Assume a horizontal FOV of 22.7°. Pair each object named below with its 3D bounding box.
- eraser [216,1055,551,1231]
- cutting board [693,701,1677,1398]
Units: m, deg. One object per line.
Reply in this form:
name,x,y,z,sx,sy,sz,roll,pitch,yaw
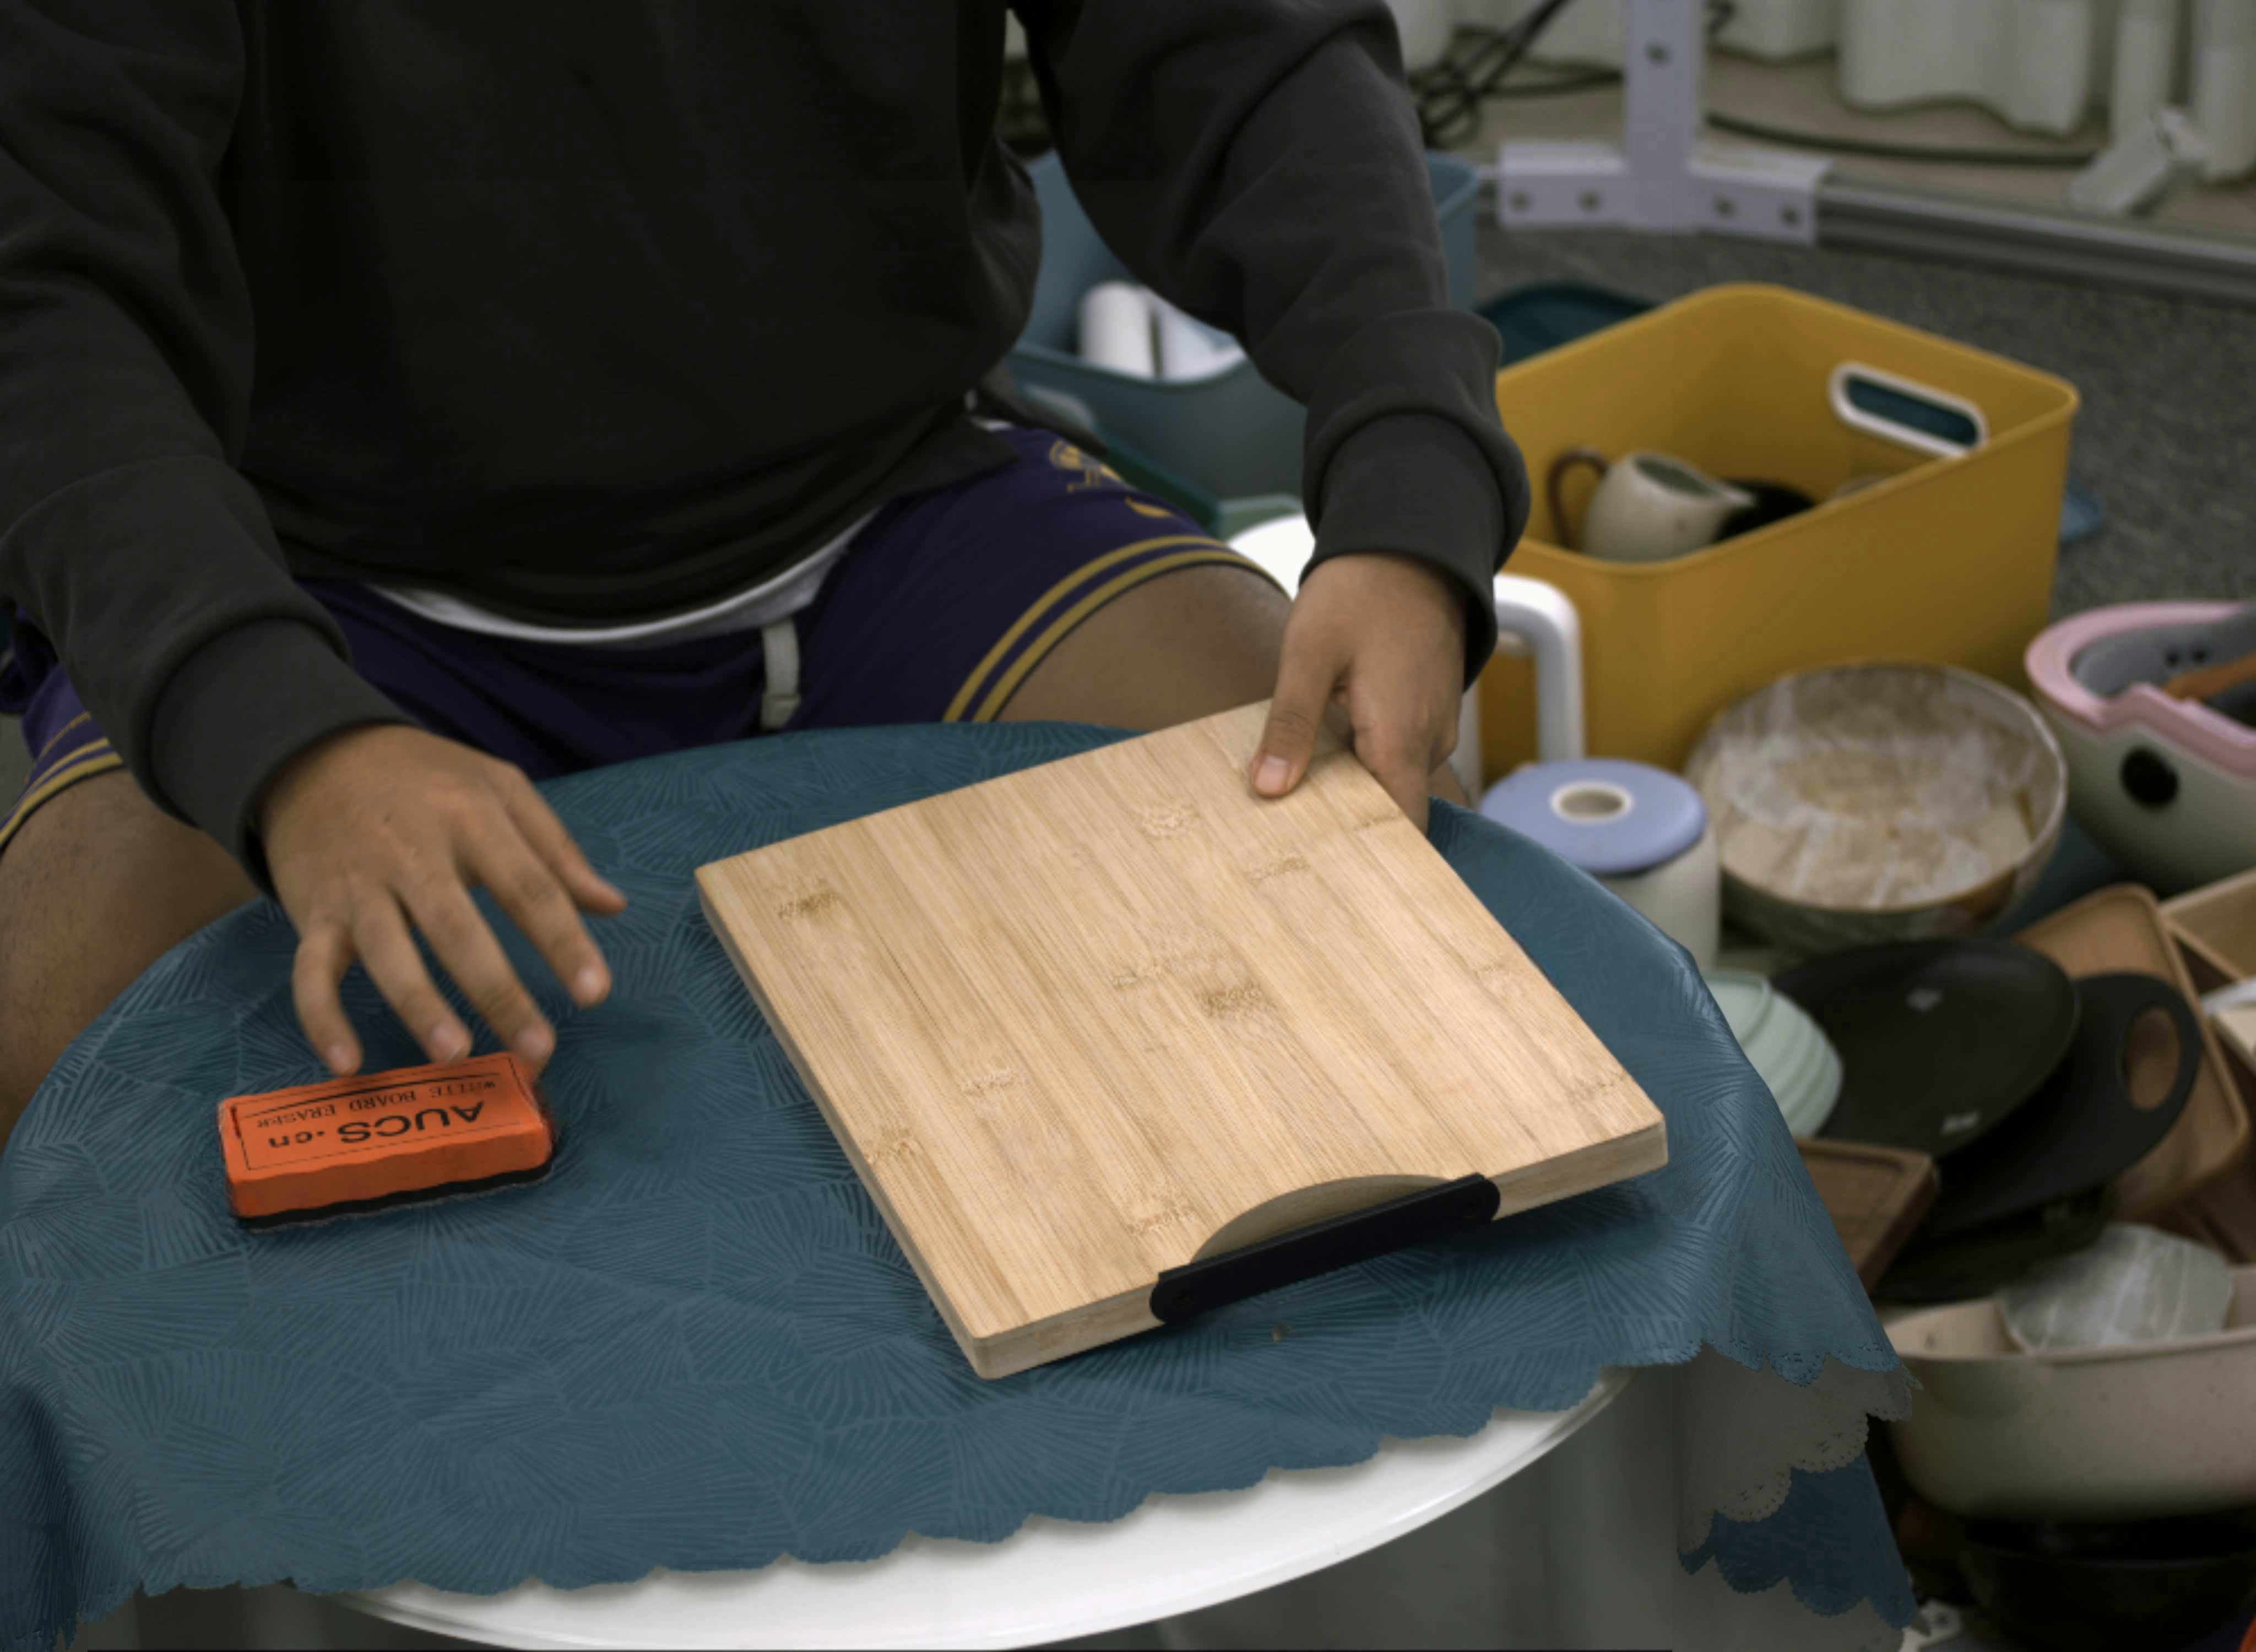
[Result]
eraser,-0.251,0.107,1.890,0.108,0.022,0.059,-8,28,-12
cutting board,0.010,0.066,1.927,0.251,0.023,0.351,-17,30,-14
